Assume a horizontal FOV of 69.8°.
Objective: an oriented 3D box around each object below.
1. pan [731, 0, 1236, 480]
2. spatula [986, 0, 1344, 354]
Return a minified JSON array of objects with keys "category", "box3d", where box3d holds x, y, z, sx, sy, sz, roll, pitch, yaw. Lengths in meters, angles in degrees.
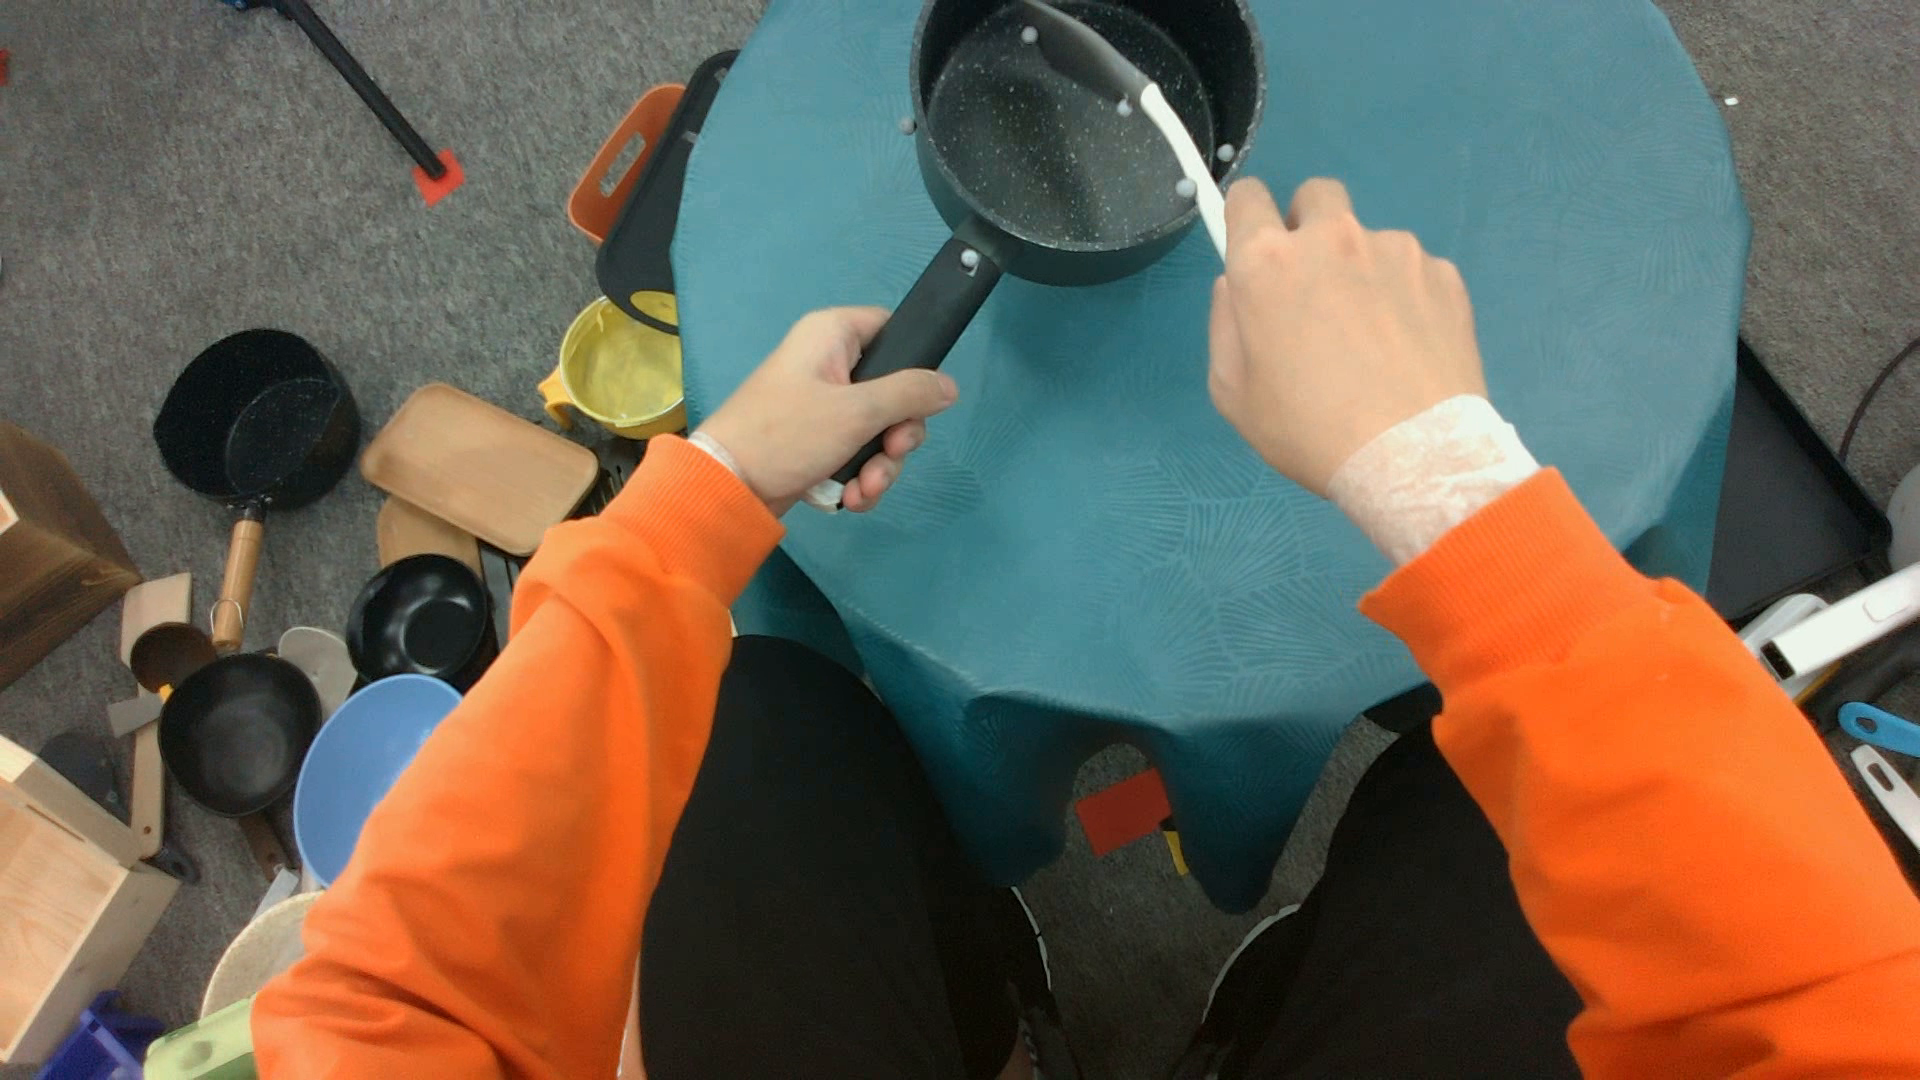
[{"category":"pan","box3d":[0.001,-0.160,0.680,0.172,0.086,0.329,35,80,2]},{"category":"spatula","box3d":[0.078,-0.179,0.612,0.032,0.058,0.288,-35,51,6]}]
